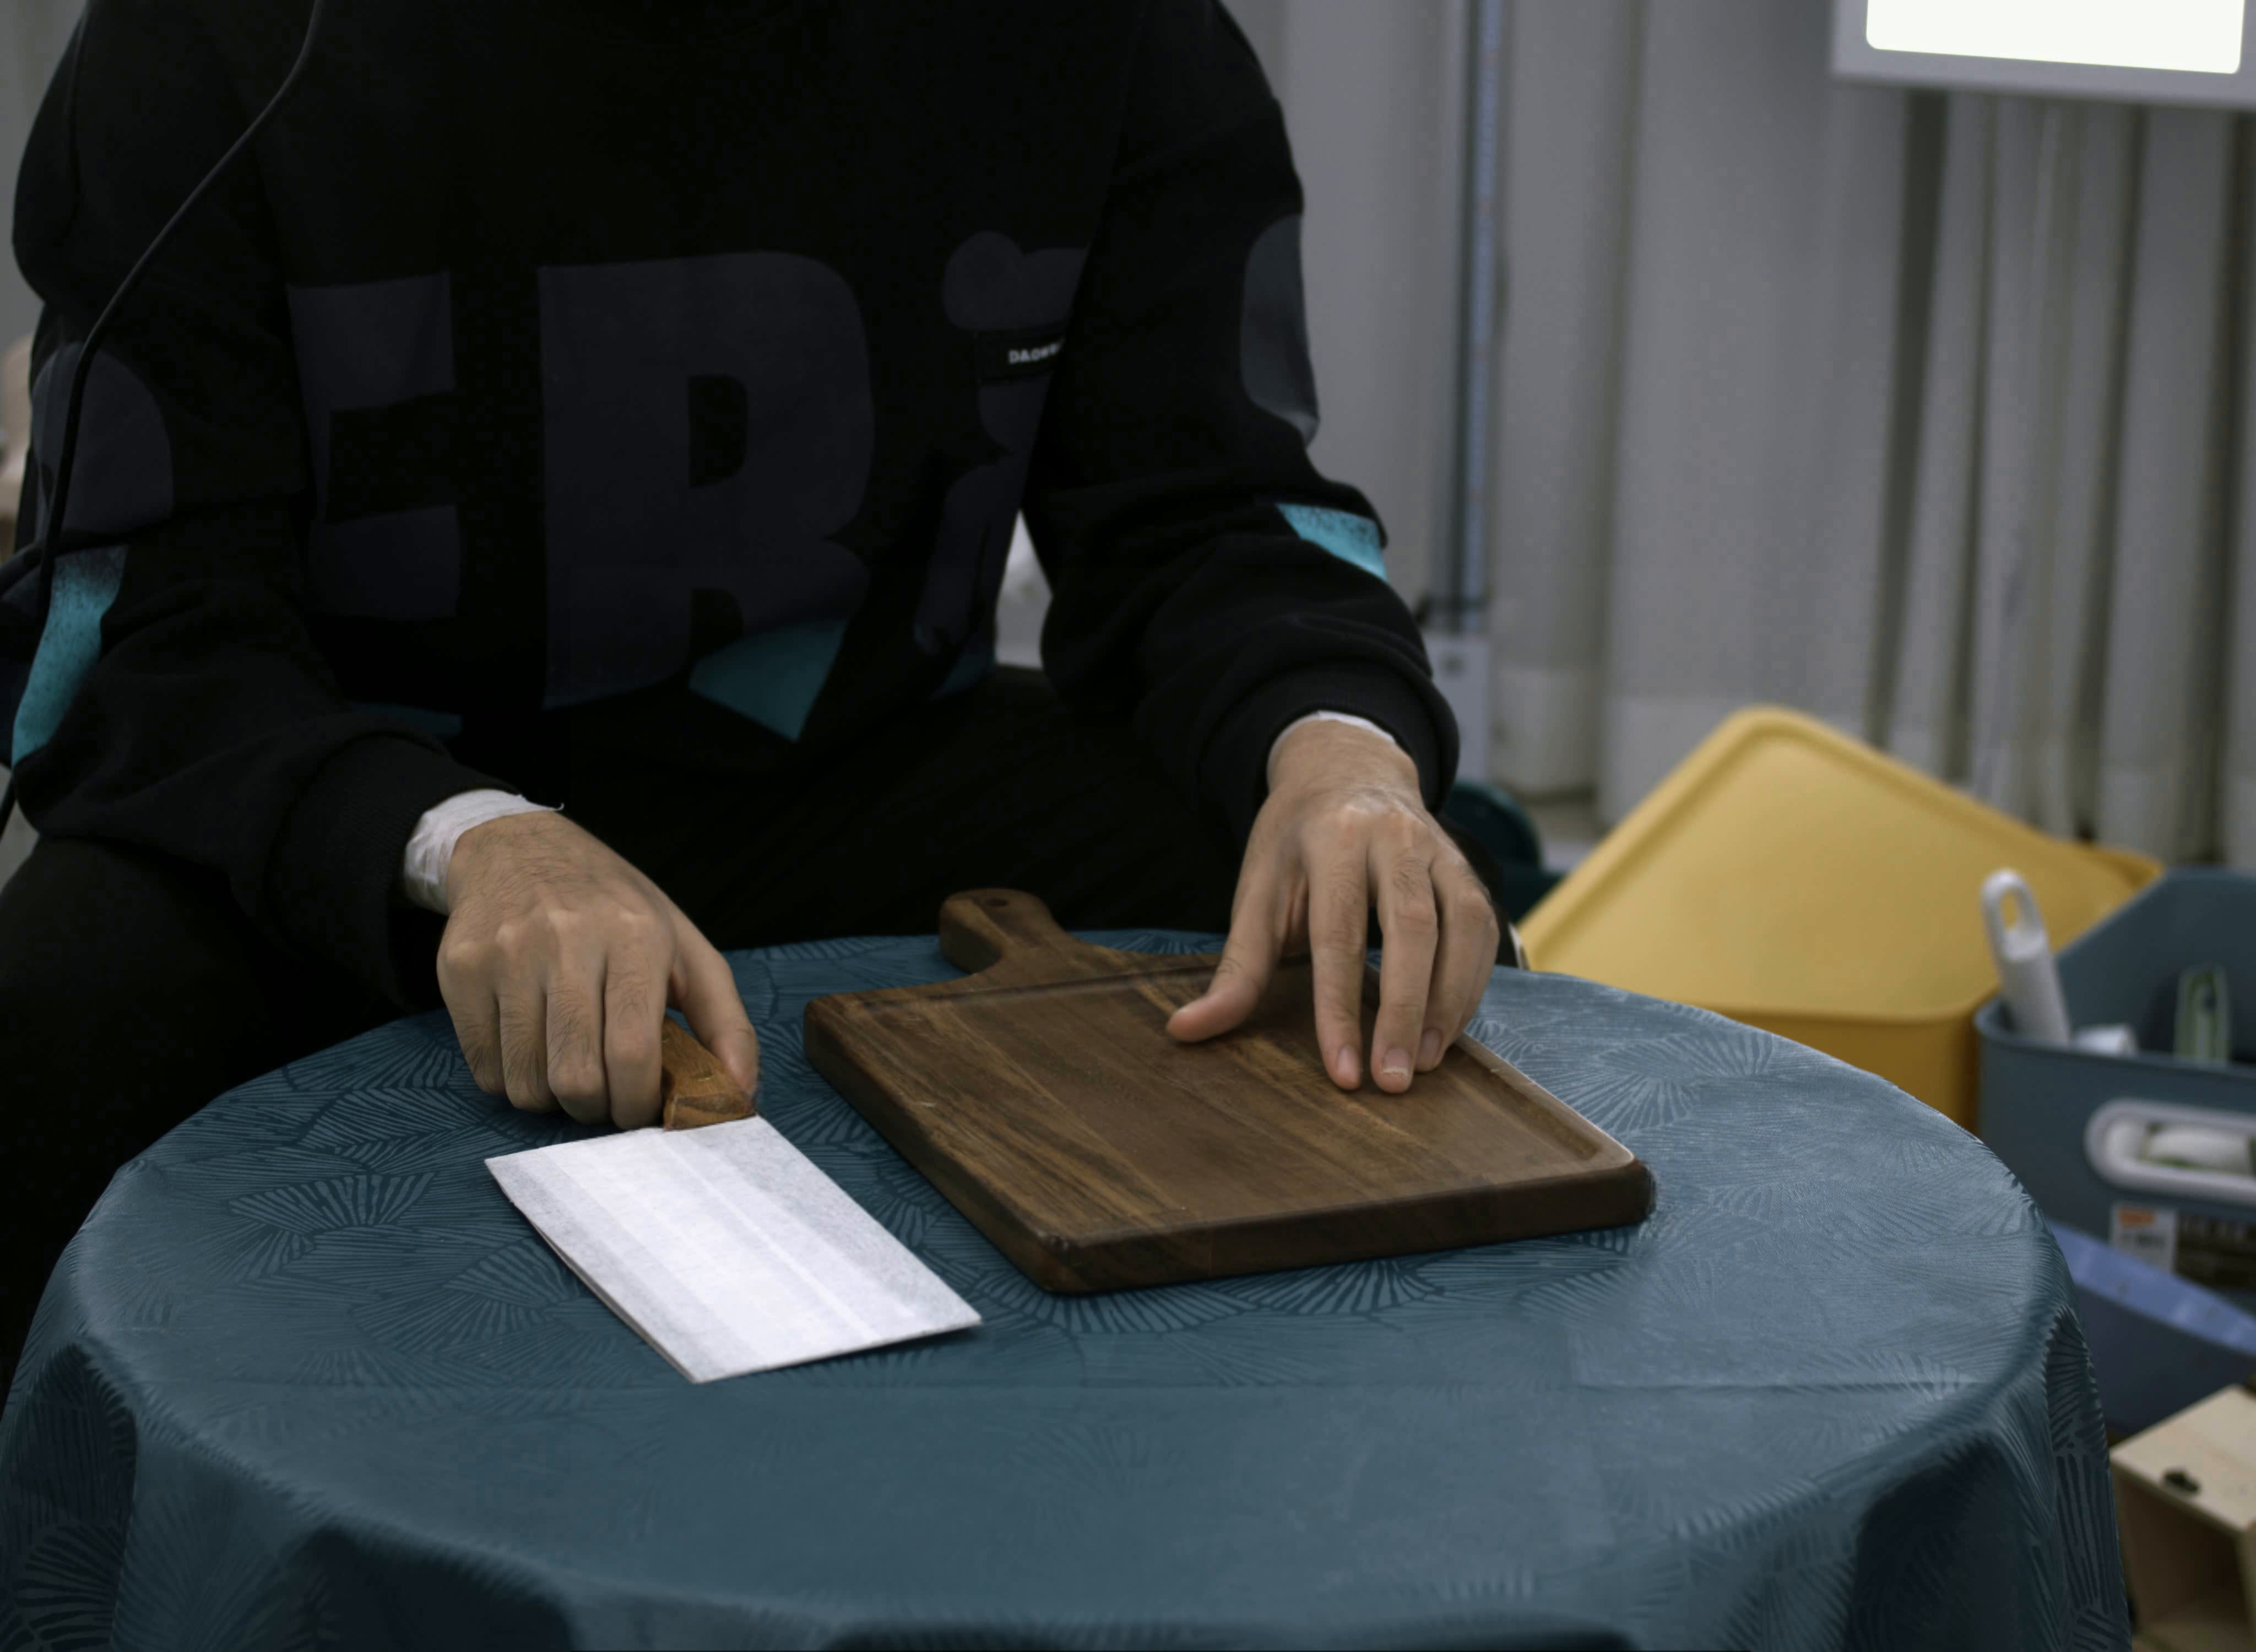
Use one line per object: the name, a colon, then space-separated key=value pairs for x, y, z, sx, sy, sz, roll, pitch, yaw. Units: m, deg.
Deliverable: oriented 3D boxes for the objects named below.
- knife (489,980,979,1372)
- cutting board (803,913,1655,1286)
knife: x=-0.142 y=0.106 z=1.612 sx=0.093 sy=0.021 sz=0.302 roll=-10 pitch=20 yaw=-23
cutting board: x=0.009 y=0.079 z=1.715 sx=0.201 sy=0.023 sz=0.348 roll=-4 pitch=14 yaw=-20
